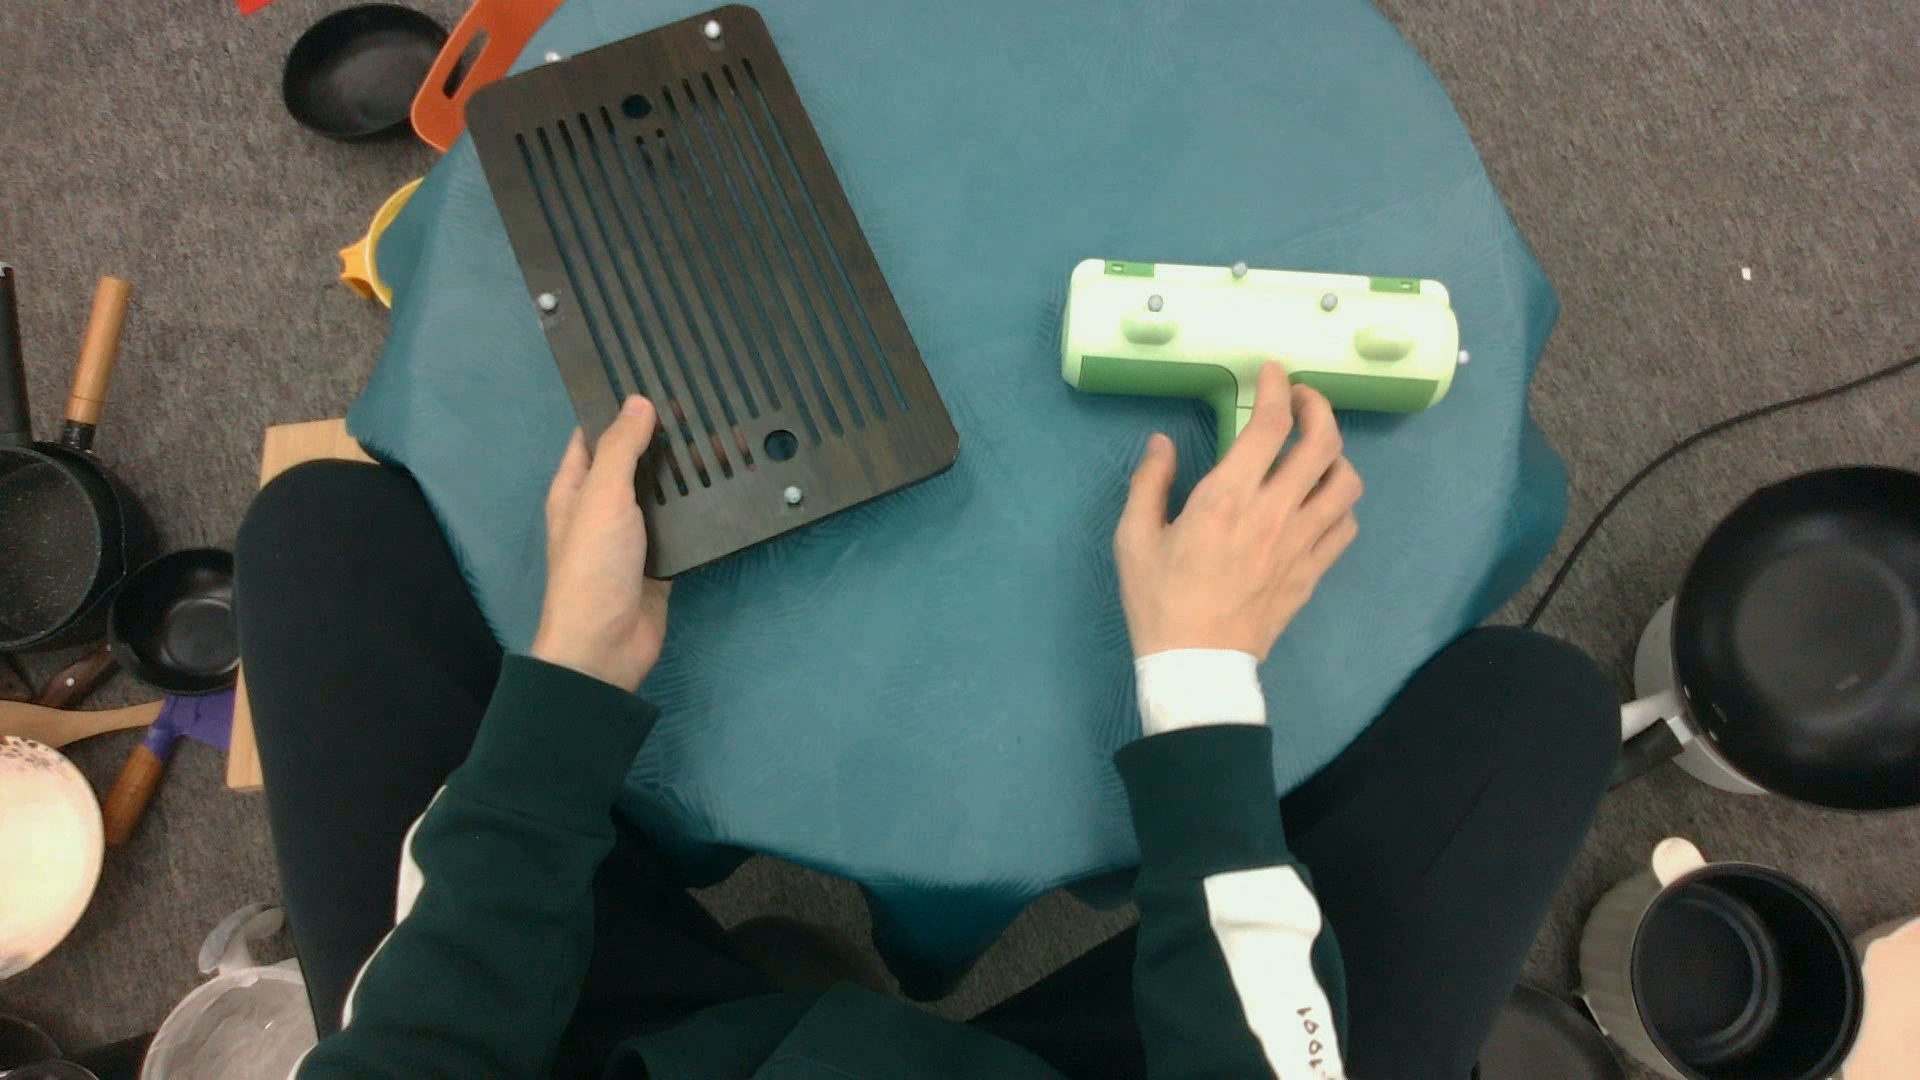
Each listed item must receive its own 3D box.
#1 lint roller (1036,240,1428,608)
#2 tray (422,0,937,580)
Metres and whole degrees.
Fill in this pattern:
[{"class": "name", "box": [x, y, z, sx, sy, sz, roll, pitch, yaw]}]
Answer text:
[{"class": "lint roller", "box": [0.137, -0.062, 0.692, 0.198, 0.082, 0.184, 3, 75, -1]}, {"class": "tray", "box": [-0.149, -0.139, 0.712, 0.170, 0.018, 0.306, -24, 73, -9]}]
